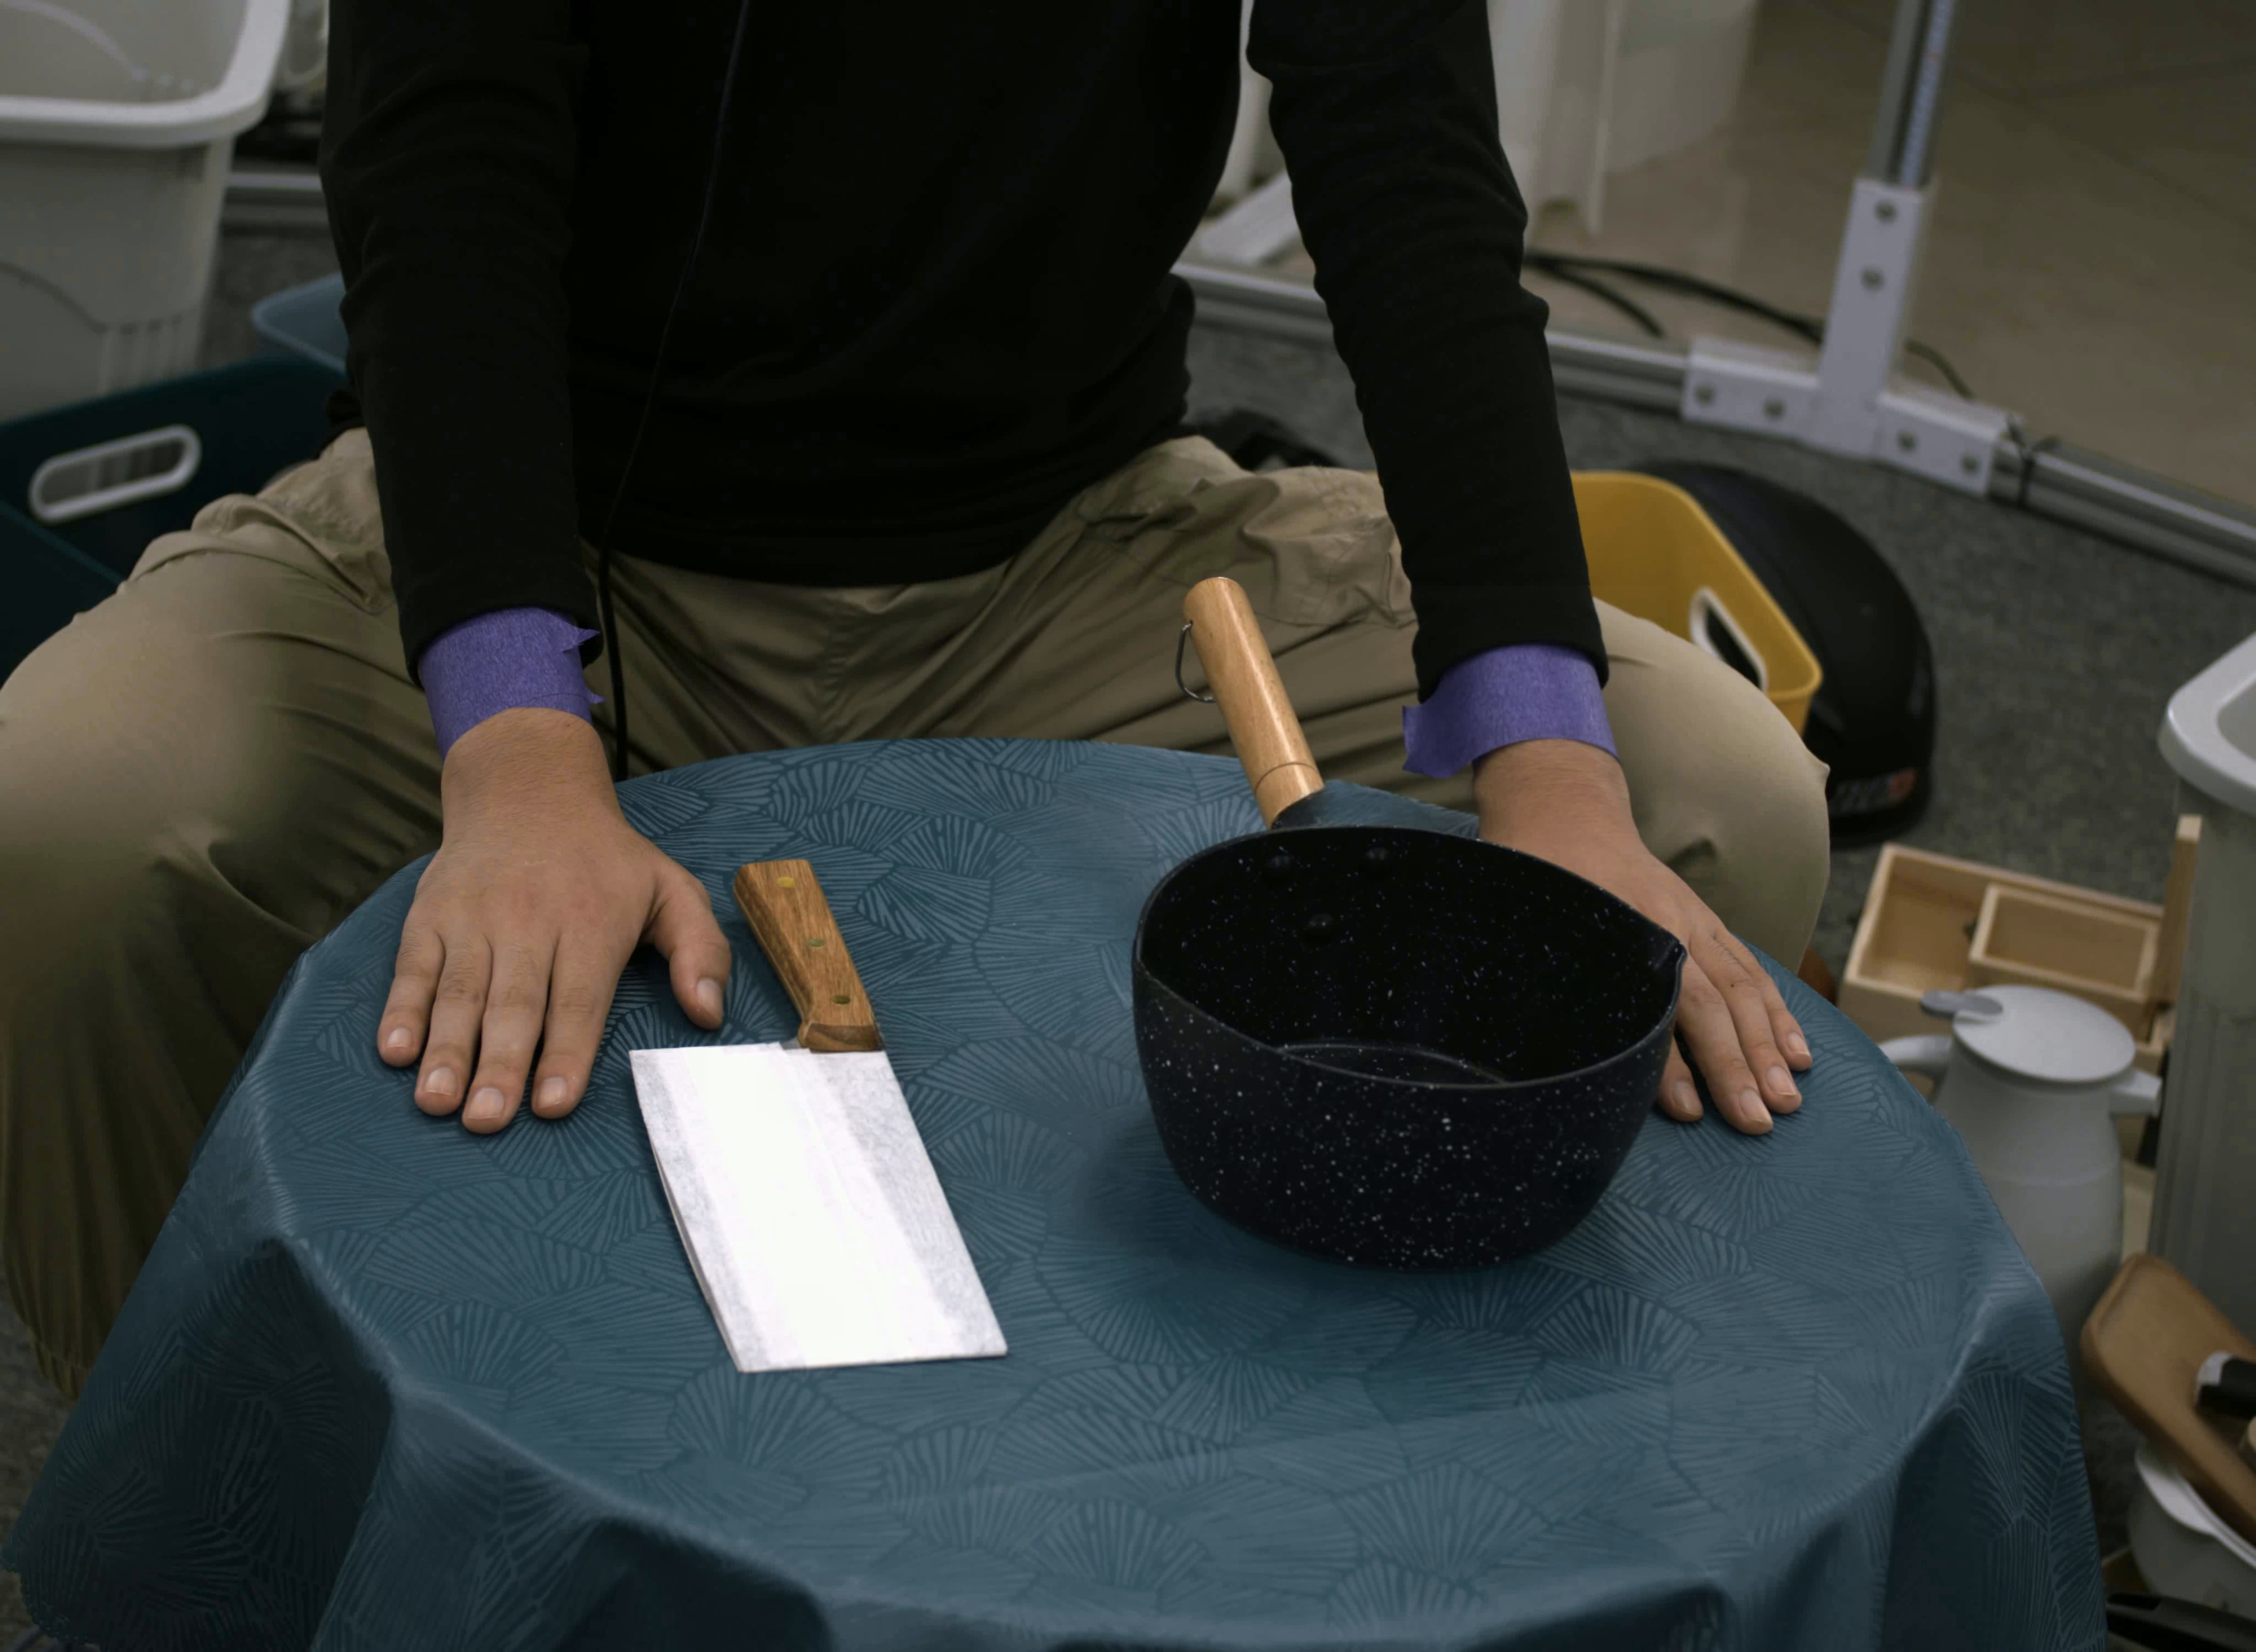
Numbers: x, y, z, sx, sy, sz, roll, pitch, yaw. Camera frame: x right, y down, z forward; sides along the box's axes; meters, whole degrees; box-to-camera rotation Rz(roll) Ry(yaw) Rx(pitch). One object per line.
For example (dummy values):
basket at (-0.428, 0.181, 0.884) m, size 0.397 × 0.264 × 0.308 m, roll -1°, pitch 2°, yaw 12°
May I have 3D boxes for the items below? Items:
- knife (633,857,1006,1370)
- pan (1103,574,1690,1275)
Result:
knife at (-0.118, 0.095, 1.819) m, size 0.092 × 0.021 × 0.308 m, roll -3°, pitch 30°, yaw -15°
pan at (0.069, 0.032, 1.885) m, size 0.206 × 0.108 × 0.346 m, roll -3°, pitch 29°, yaw -17°
